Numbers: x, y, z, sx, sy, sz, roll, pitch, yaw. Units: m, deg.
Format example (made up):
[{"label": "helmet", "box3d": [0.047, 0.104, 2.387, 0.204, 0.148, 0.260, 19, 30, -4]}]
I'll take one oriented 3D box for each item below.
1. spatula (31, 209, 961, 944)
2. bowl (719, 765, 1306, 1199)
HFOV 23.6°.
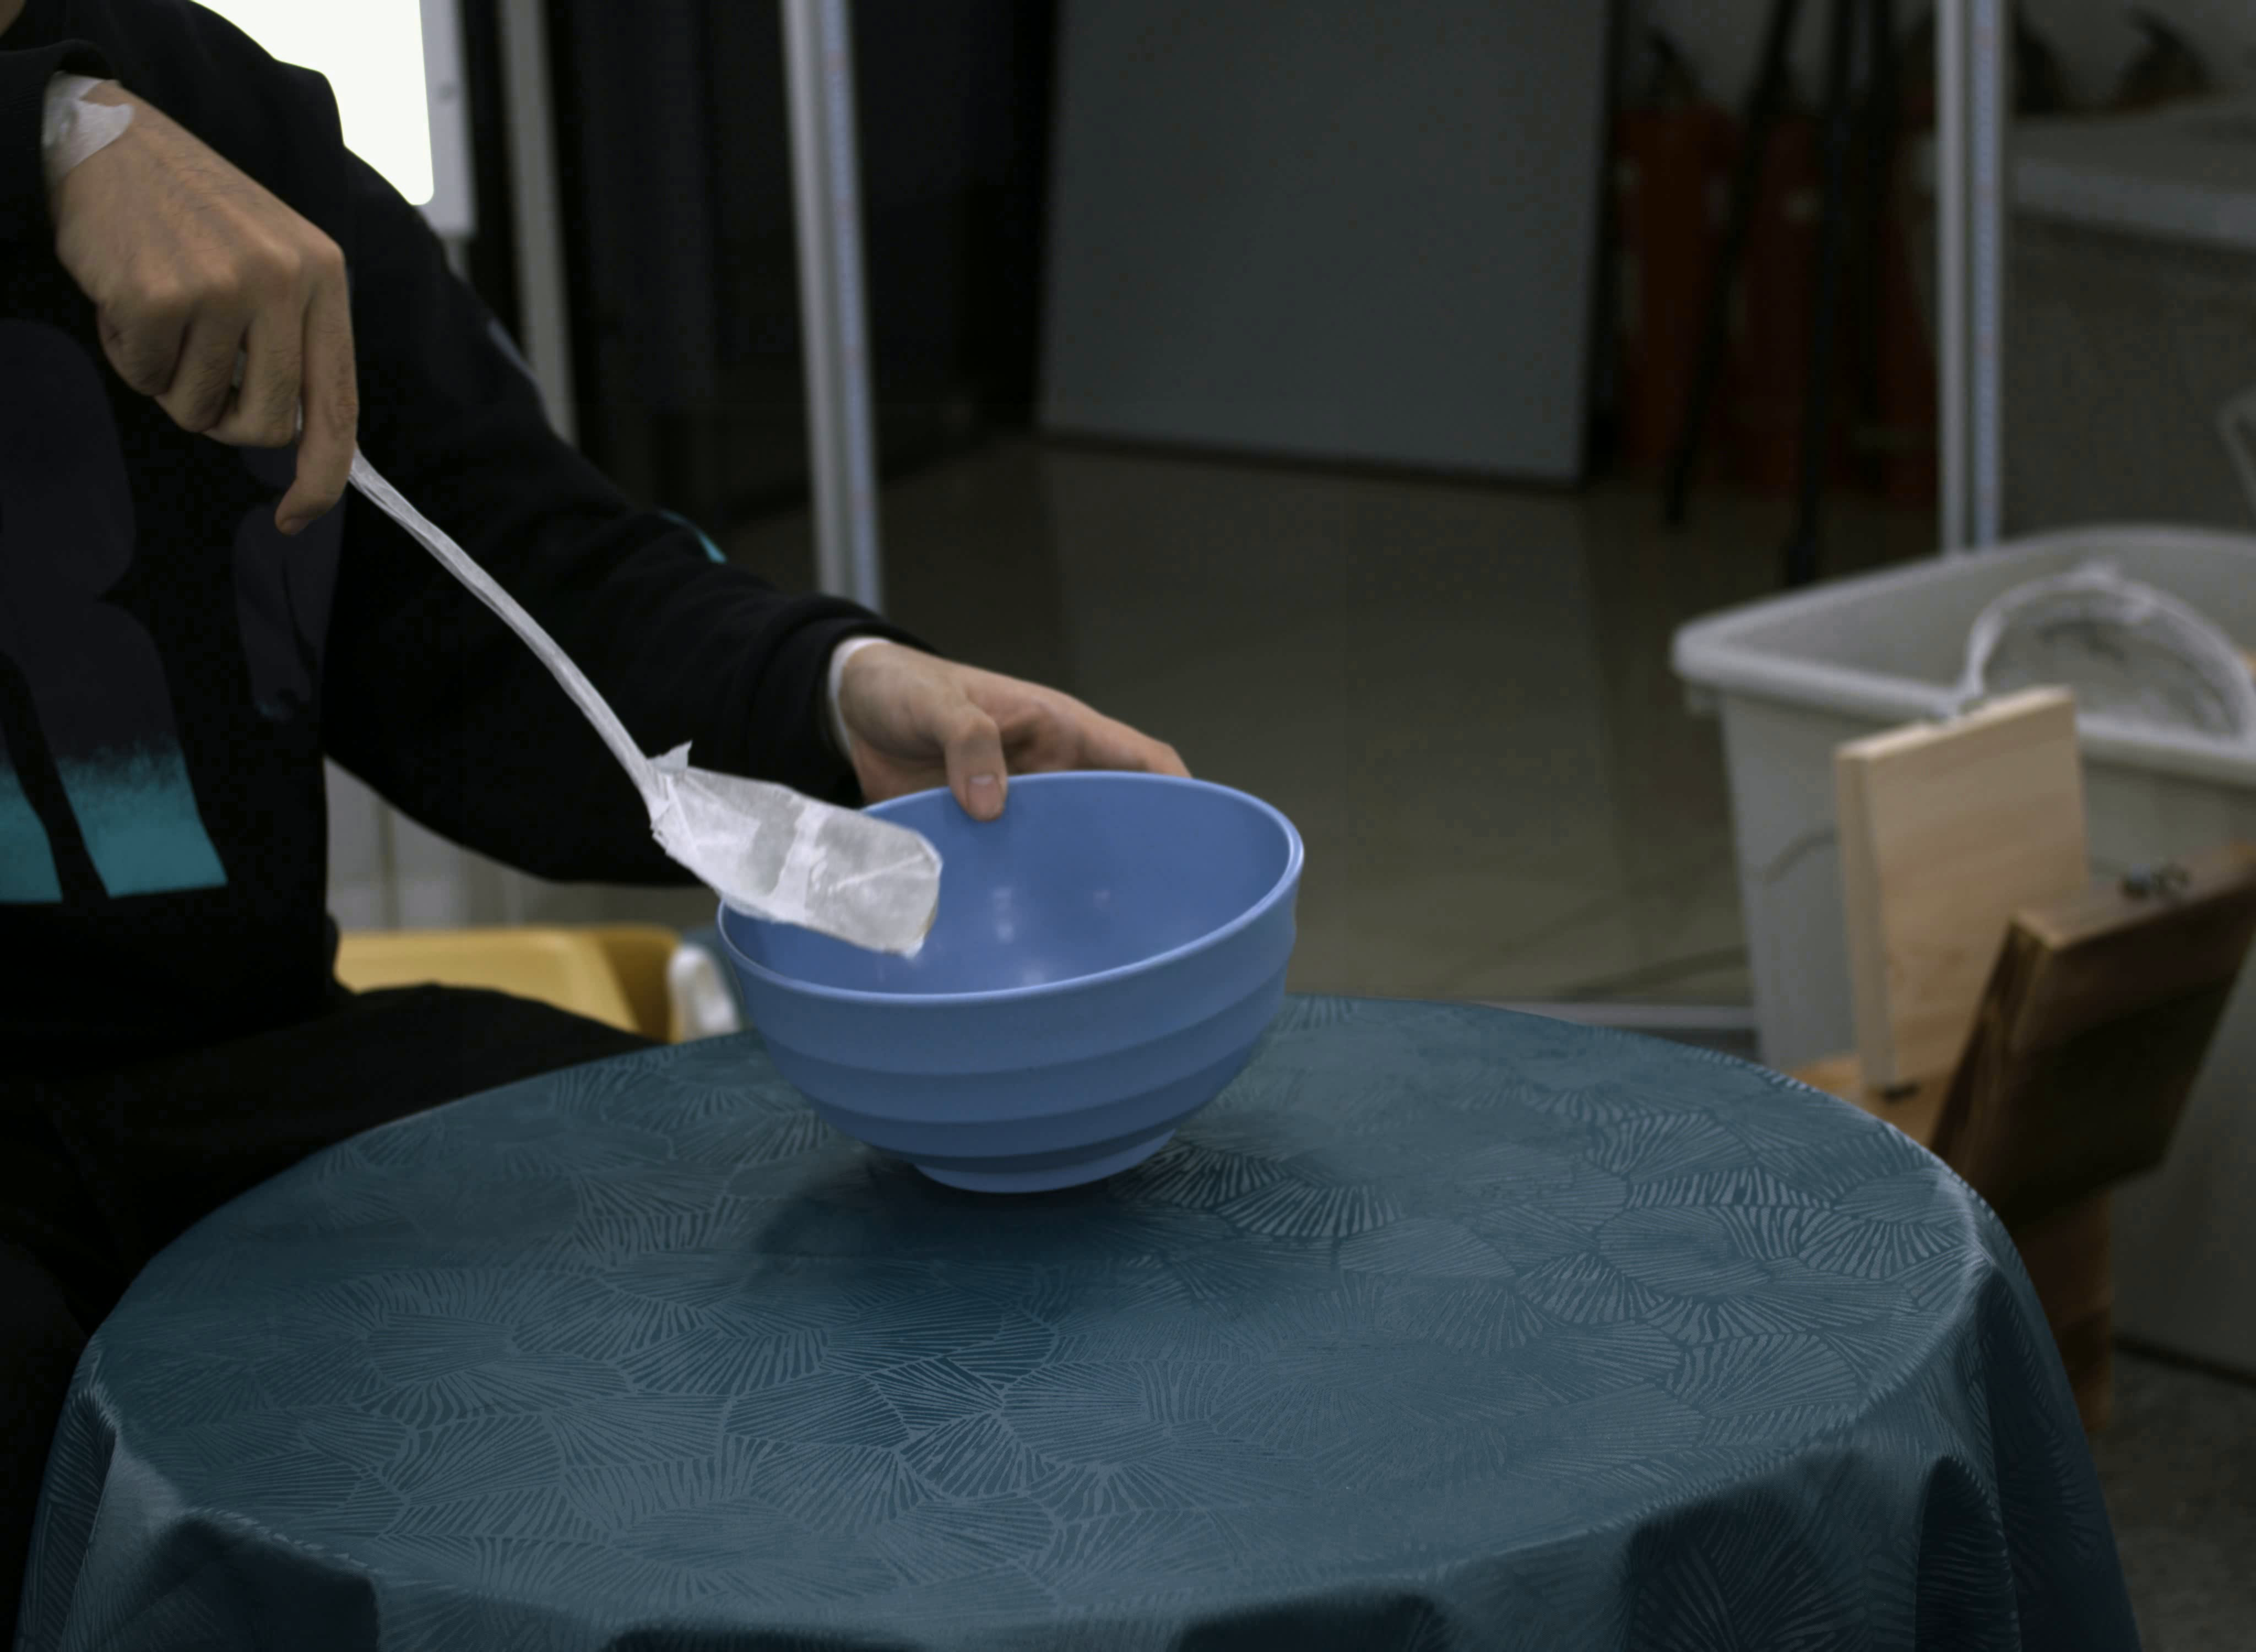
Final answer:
[{"label": "spatula", "box3d": [-0.202, -0.082, 1.729, 0.045, 0.363, 0.098, -44, 9, 22]}, {"label": "bowl", "box3d": [-0.033, 0.060, 1.783, 0.194, 0.096, 0.197, -7, 21, 2]}]
